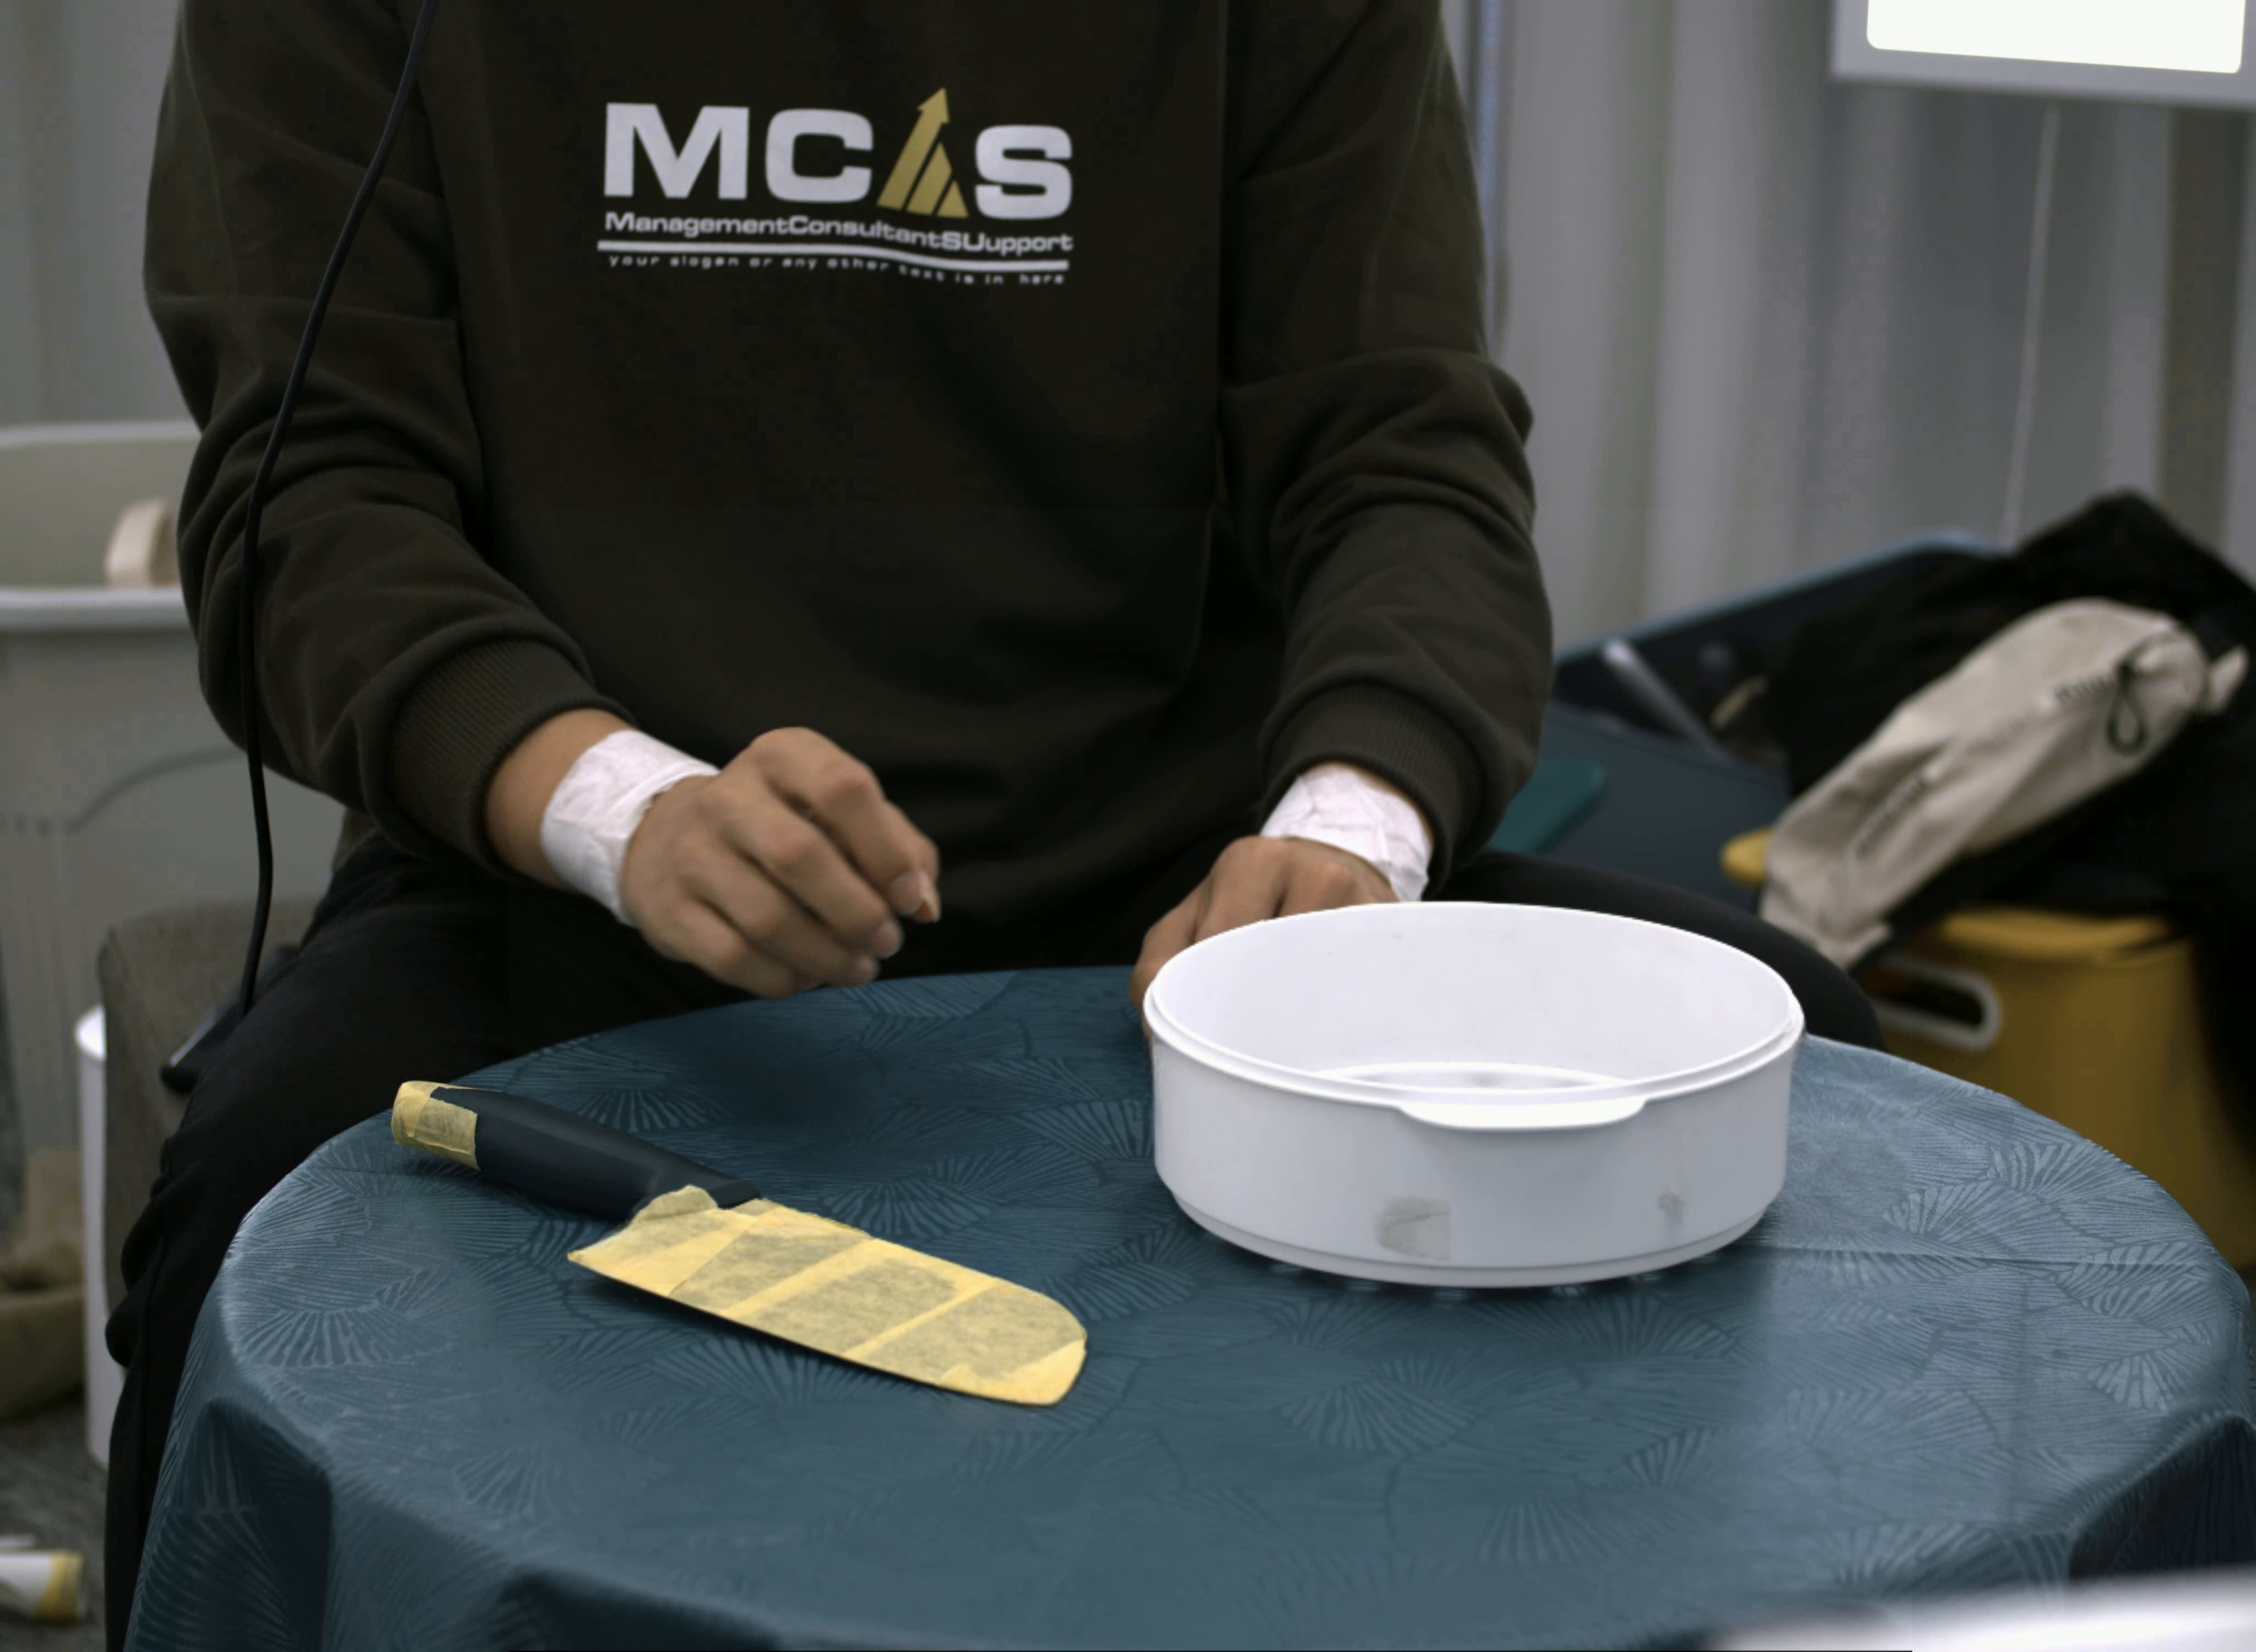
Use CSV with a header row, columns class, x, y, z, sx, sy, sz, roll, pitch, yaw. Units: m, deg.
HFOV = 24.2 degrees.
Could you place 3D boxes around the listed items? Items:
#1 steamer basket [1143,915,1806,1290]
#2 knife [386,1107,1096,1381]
class,x,y,z,sx,sy,sz,roll,pitch,yaw
steamer basket,0.104,0.084,1.606,0.201,0.070,0.229,0,14,-5
knife,-0.123,0.125,1.549,0.285,0.027,0.081,14,19,37
